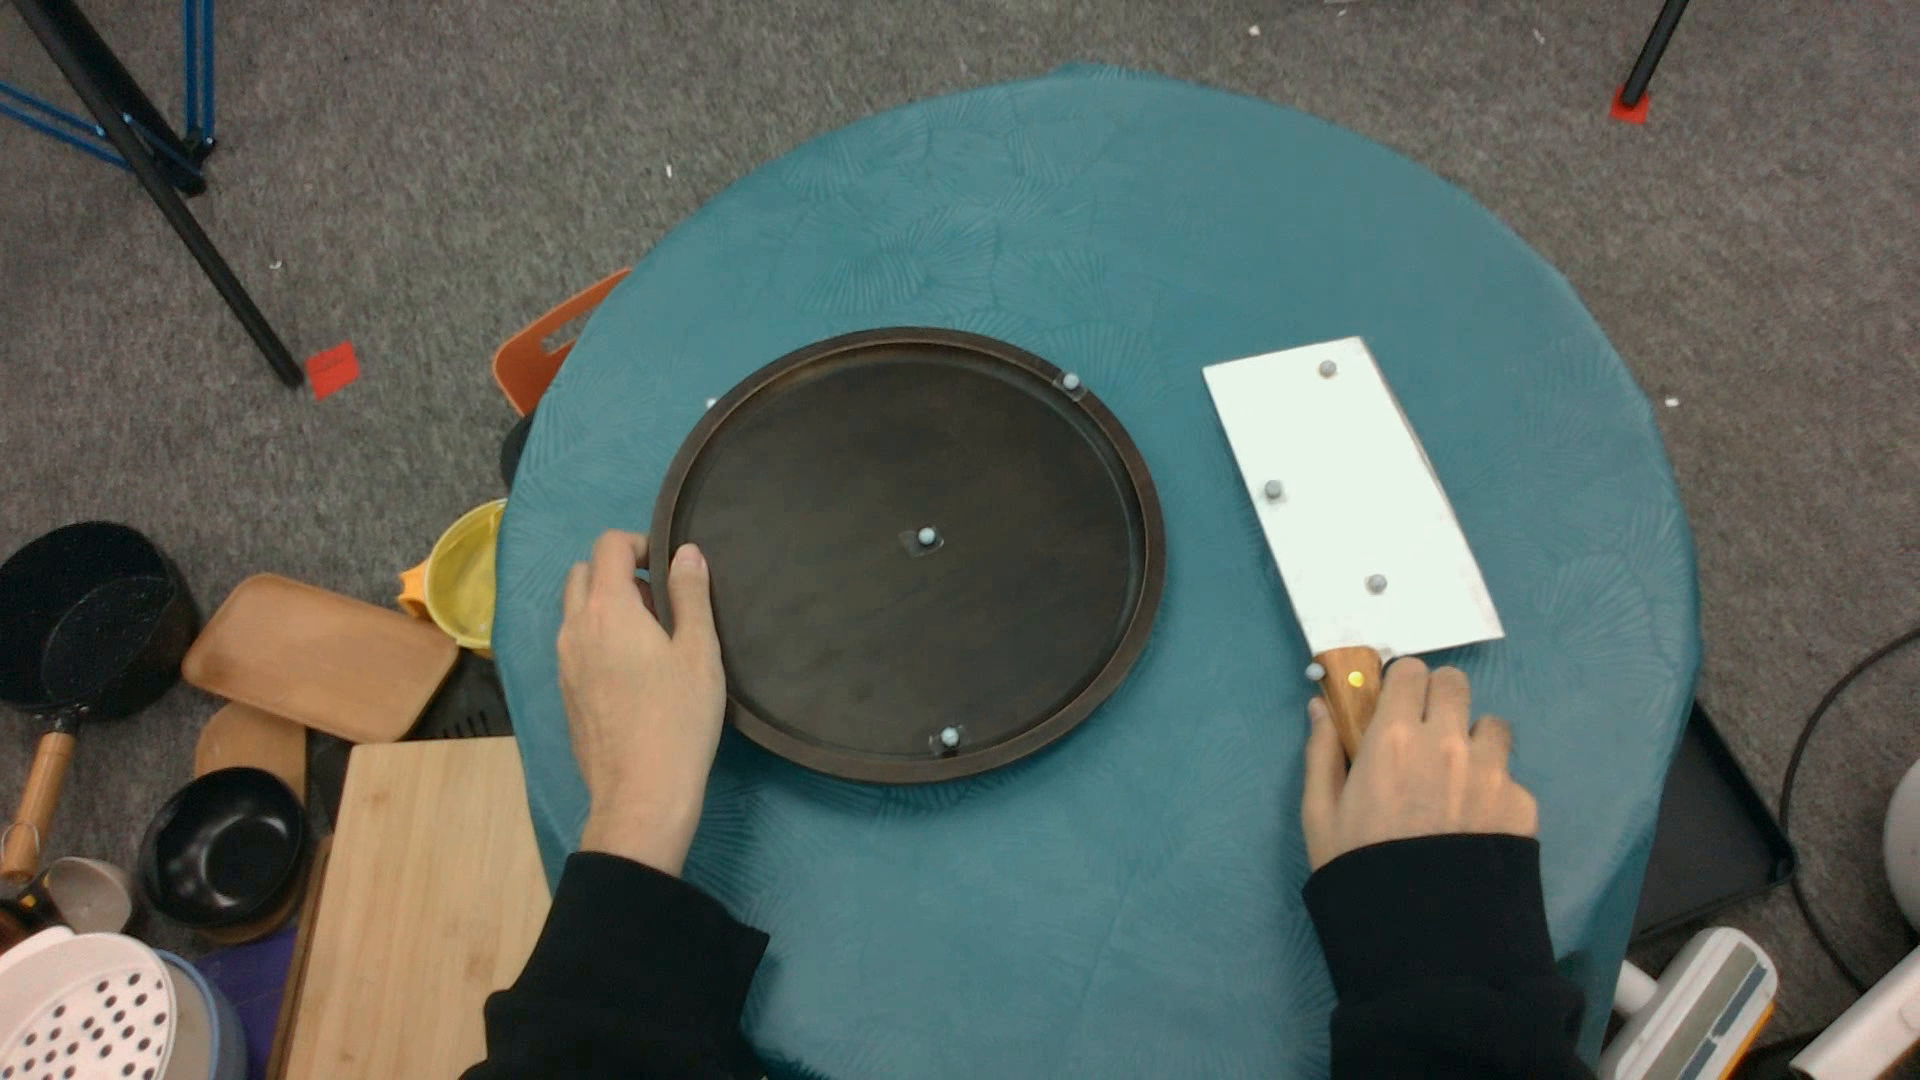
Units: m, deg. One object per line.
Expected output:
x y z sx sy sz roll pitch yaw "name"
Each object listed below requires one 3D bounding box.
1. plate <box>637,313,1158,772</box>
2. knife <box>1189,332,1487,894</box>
-0.030 -0.006 0.677 0.255 0.029 0.256 2 60 -2 "plate"
0.196 0.016 0.662 0.093 0.021 0.307 -11 57 -5 "knife"
